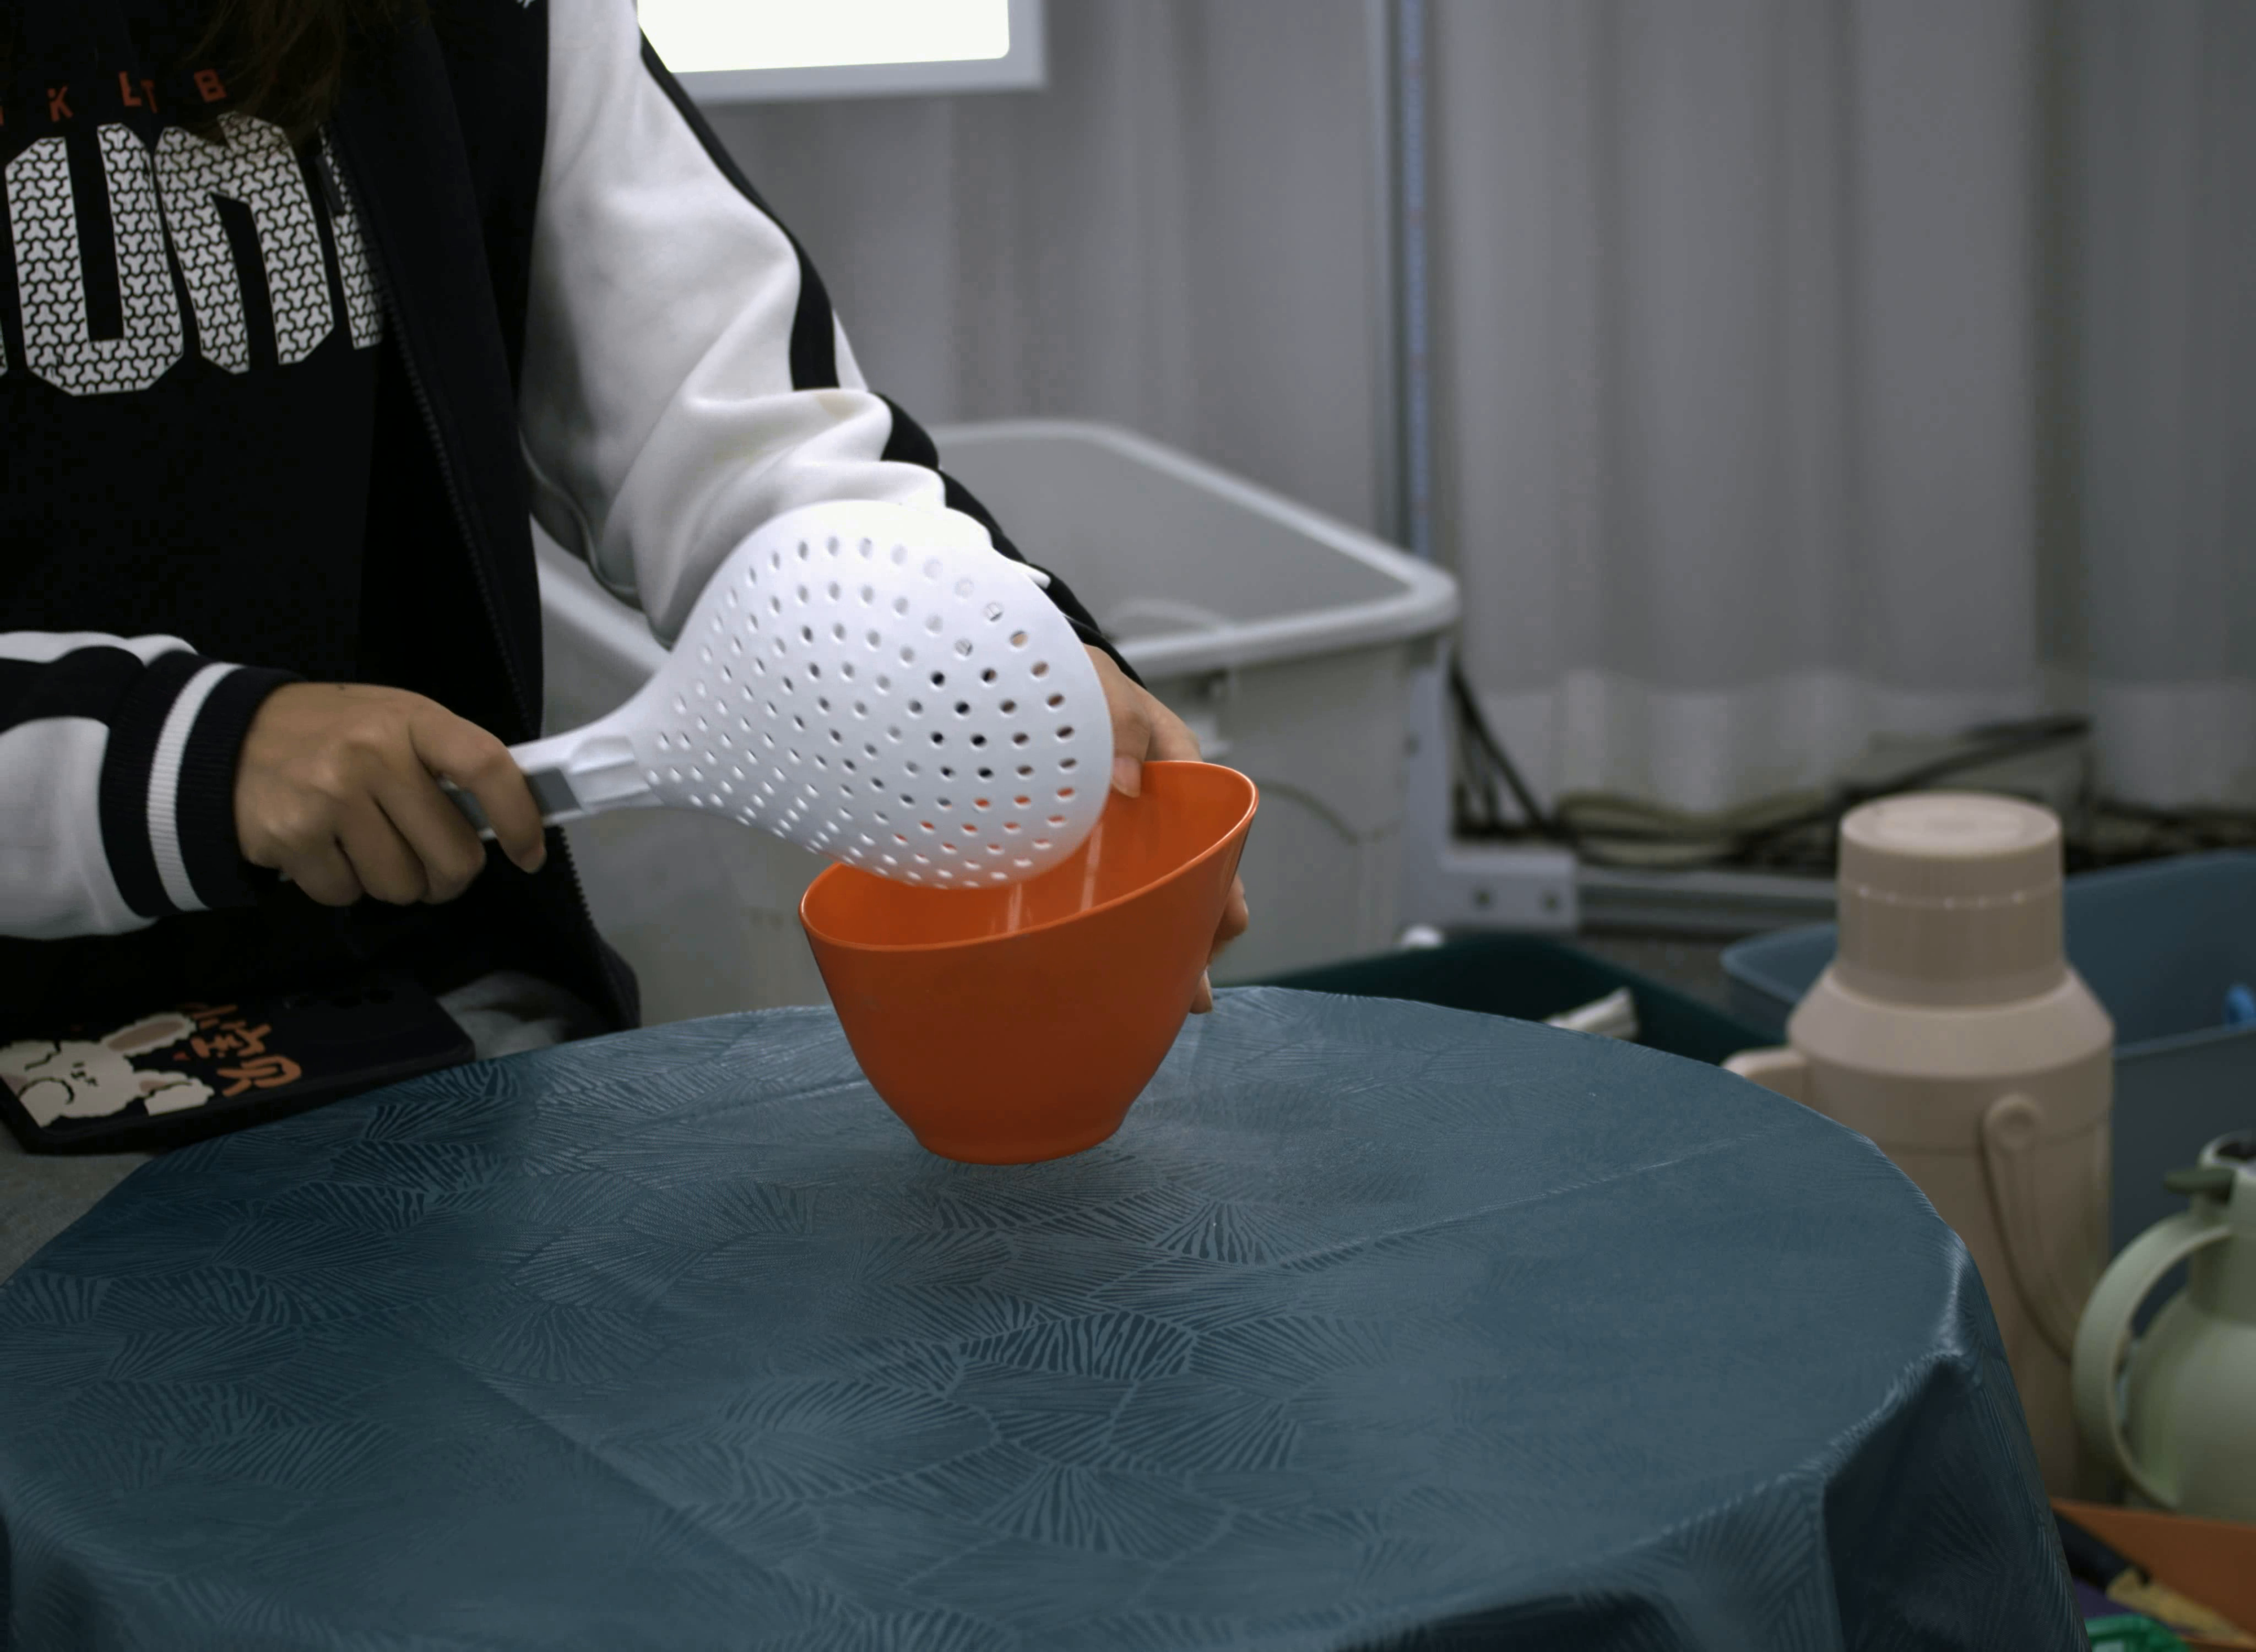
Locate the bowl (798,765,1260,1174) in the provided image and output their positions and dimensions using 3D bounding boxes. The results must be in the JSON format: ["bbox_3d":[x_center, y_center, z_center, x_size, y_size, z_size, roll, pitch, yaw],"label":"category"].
[{"bbox_3d":[-0.027,0.048,1.714,0.147,0.104,0.149,-6,19,2],"label":"bowl"}]

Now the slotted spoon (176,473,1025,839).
[{"bbox_3d":[-0.177,-0.035,1.695,0.350,0.134,0.046,-7,43,44],"label":"slotted spoon"}]
